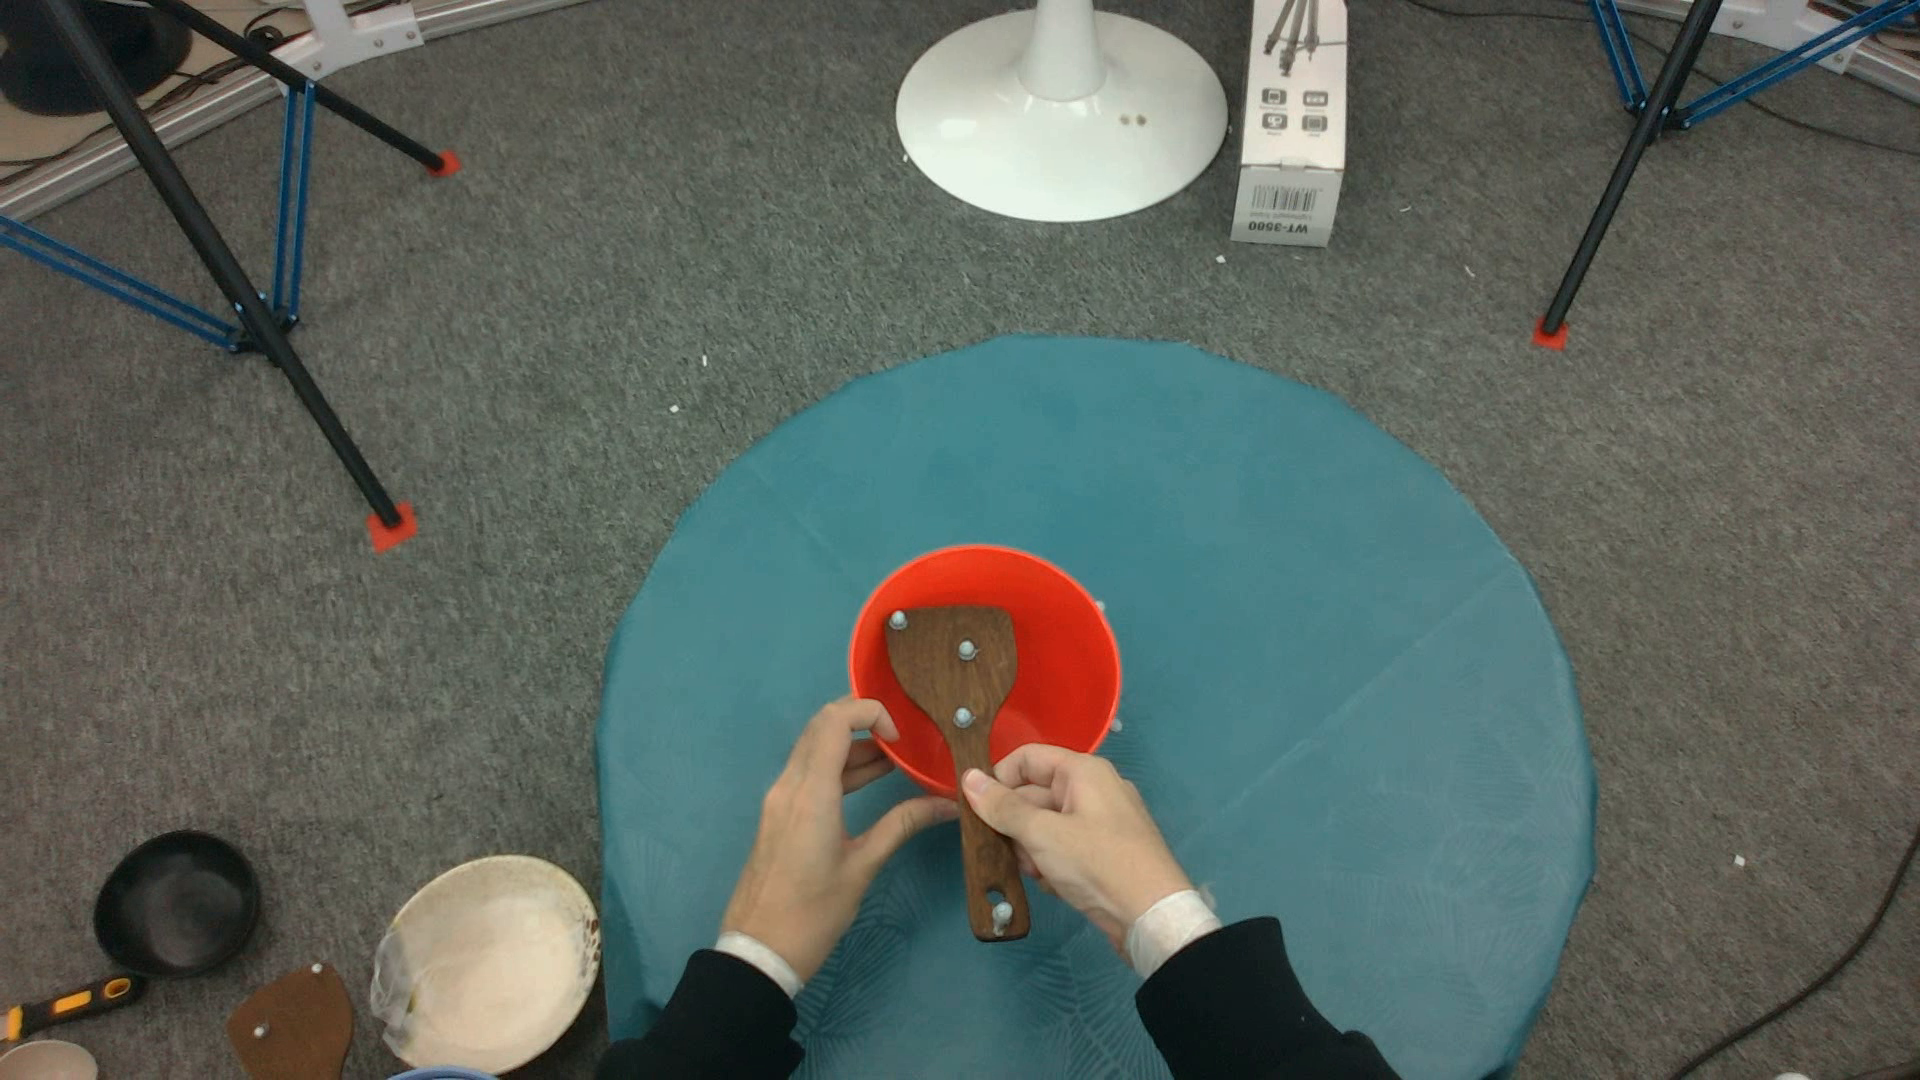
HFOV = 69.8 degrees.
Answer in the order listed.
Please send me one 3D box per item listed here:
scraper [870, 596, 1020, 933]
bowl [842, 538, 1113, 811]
[{"bbox_3d":[0.000,0.106,0.700,0.076,0.011,0.212,-1,43,-10],"label":"scraper"},{"bbox_3d":[0.009,0.088,0.773,0.148,0.104,0.148,2,52,-2],"label":"bowl"}]
